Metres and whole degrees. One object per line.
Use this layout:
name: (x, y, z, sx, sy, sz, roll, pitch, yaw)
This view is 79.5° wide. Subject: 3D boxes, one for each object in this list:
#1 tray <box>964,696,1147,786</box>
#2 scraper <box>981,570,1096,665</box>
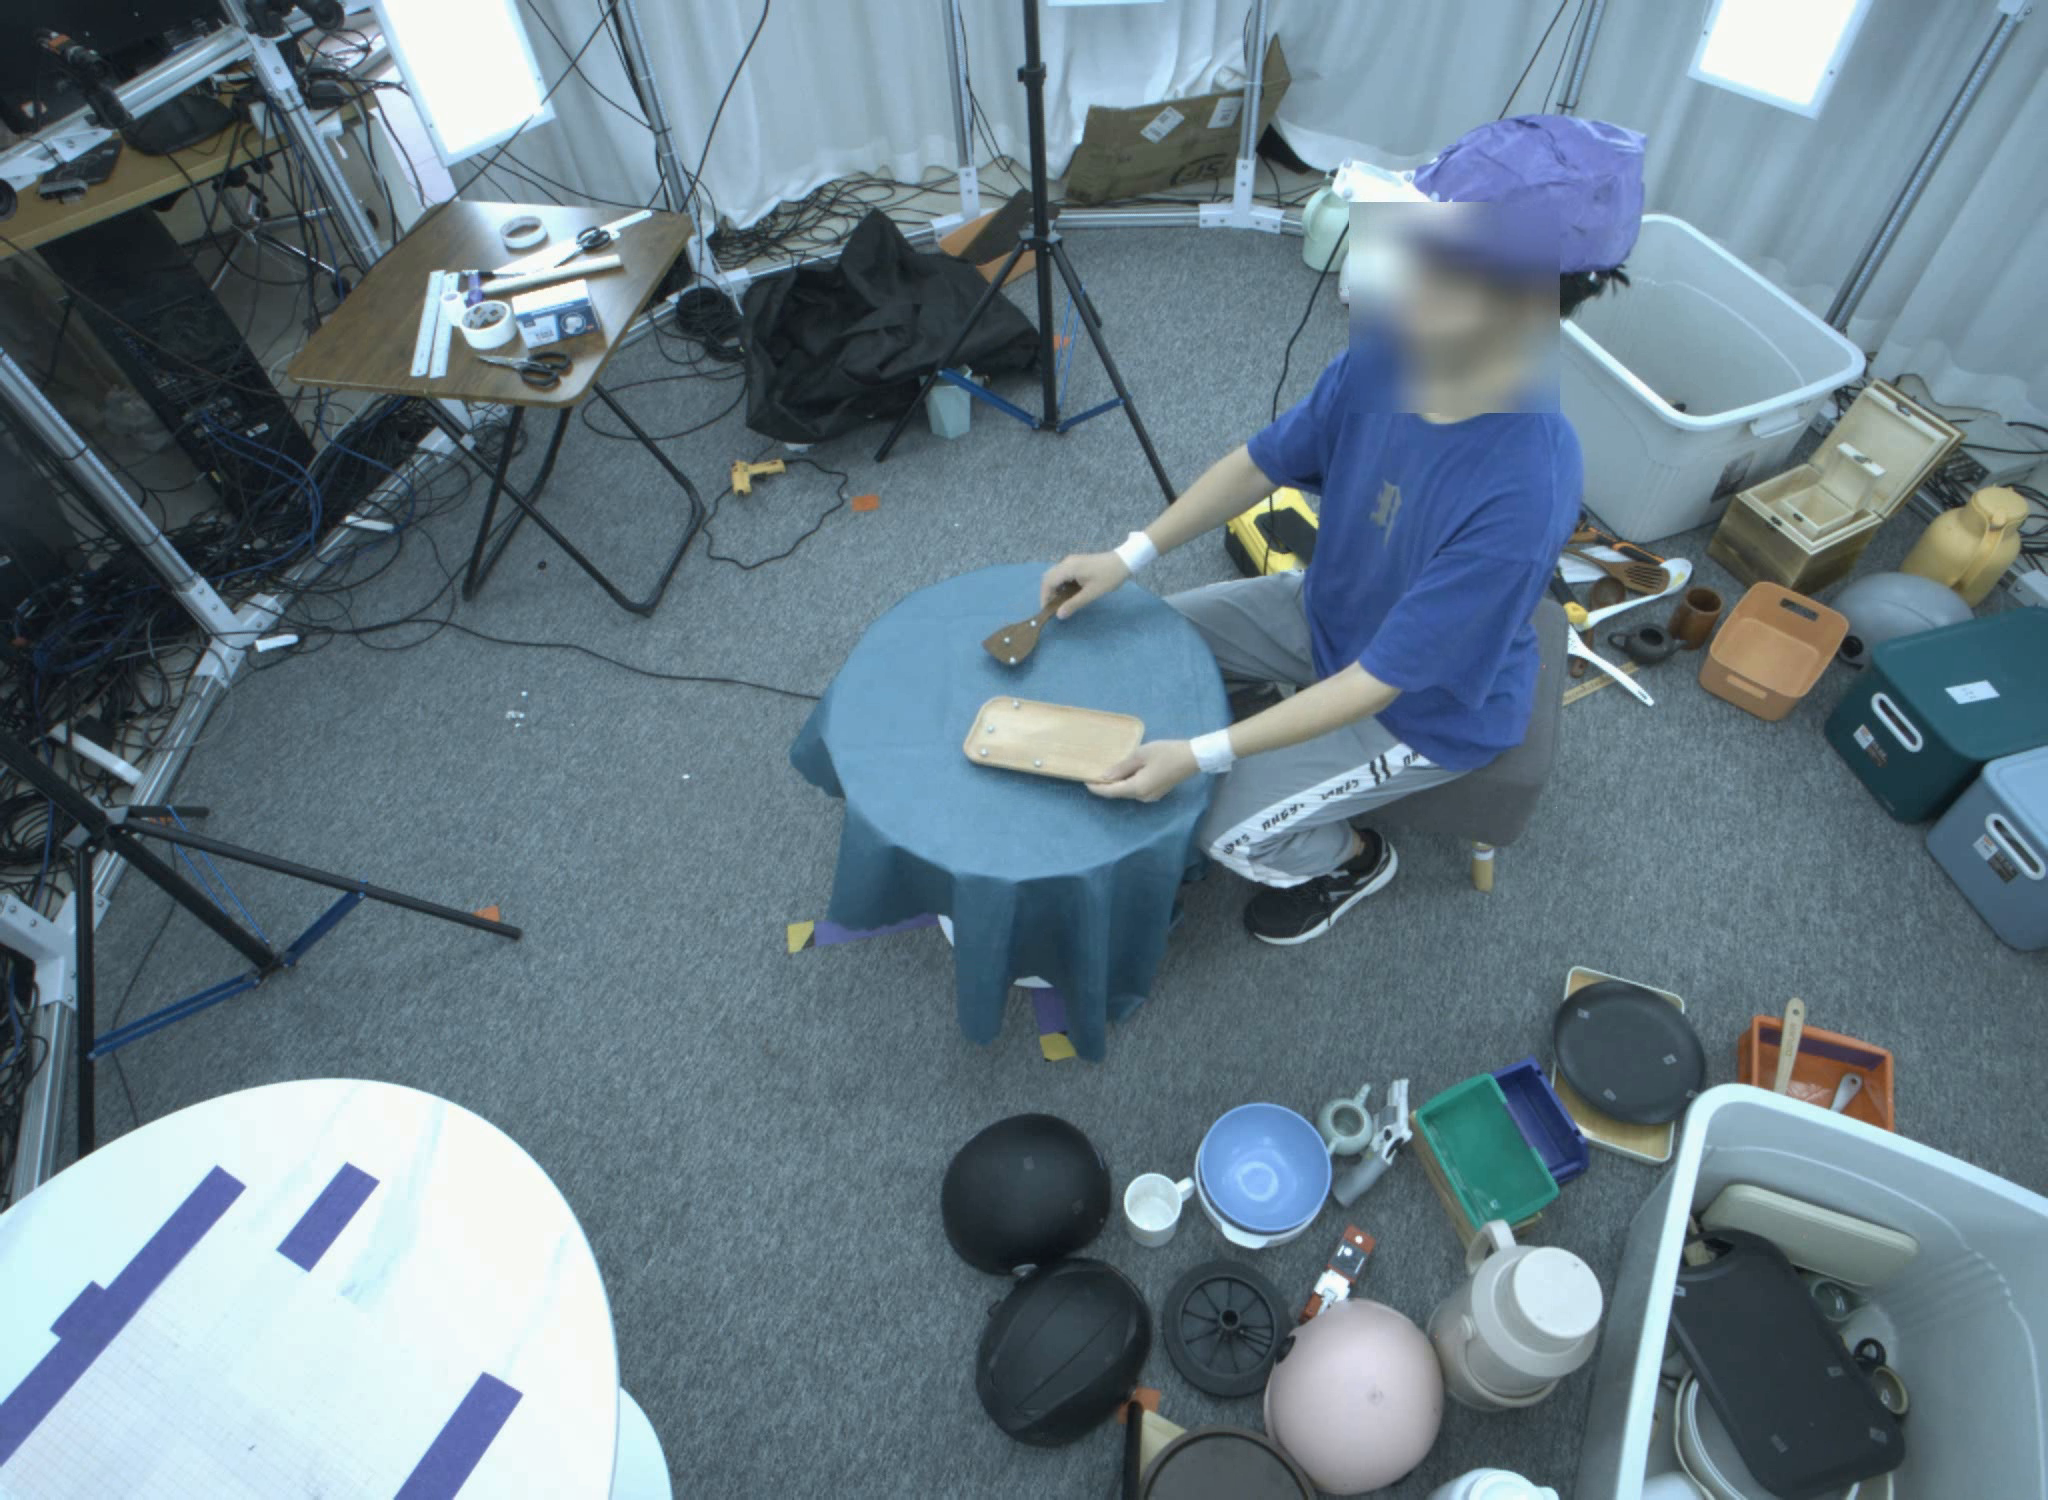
tray: (0.045, -0.014, 1.754, 0.247, 0.023, 0.130, 11, 54, 17)
scraper: (0.030, -0.208, 1.880, 0.212, 0.011, 0.074, -42, 63, -17)
